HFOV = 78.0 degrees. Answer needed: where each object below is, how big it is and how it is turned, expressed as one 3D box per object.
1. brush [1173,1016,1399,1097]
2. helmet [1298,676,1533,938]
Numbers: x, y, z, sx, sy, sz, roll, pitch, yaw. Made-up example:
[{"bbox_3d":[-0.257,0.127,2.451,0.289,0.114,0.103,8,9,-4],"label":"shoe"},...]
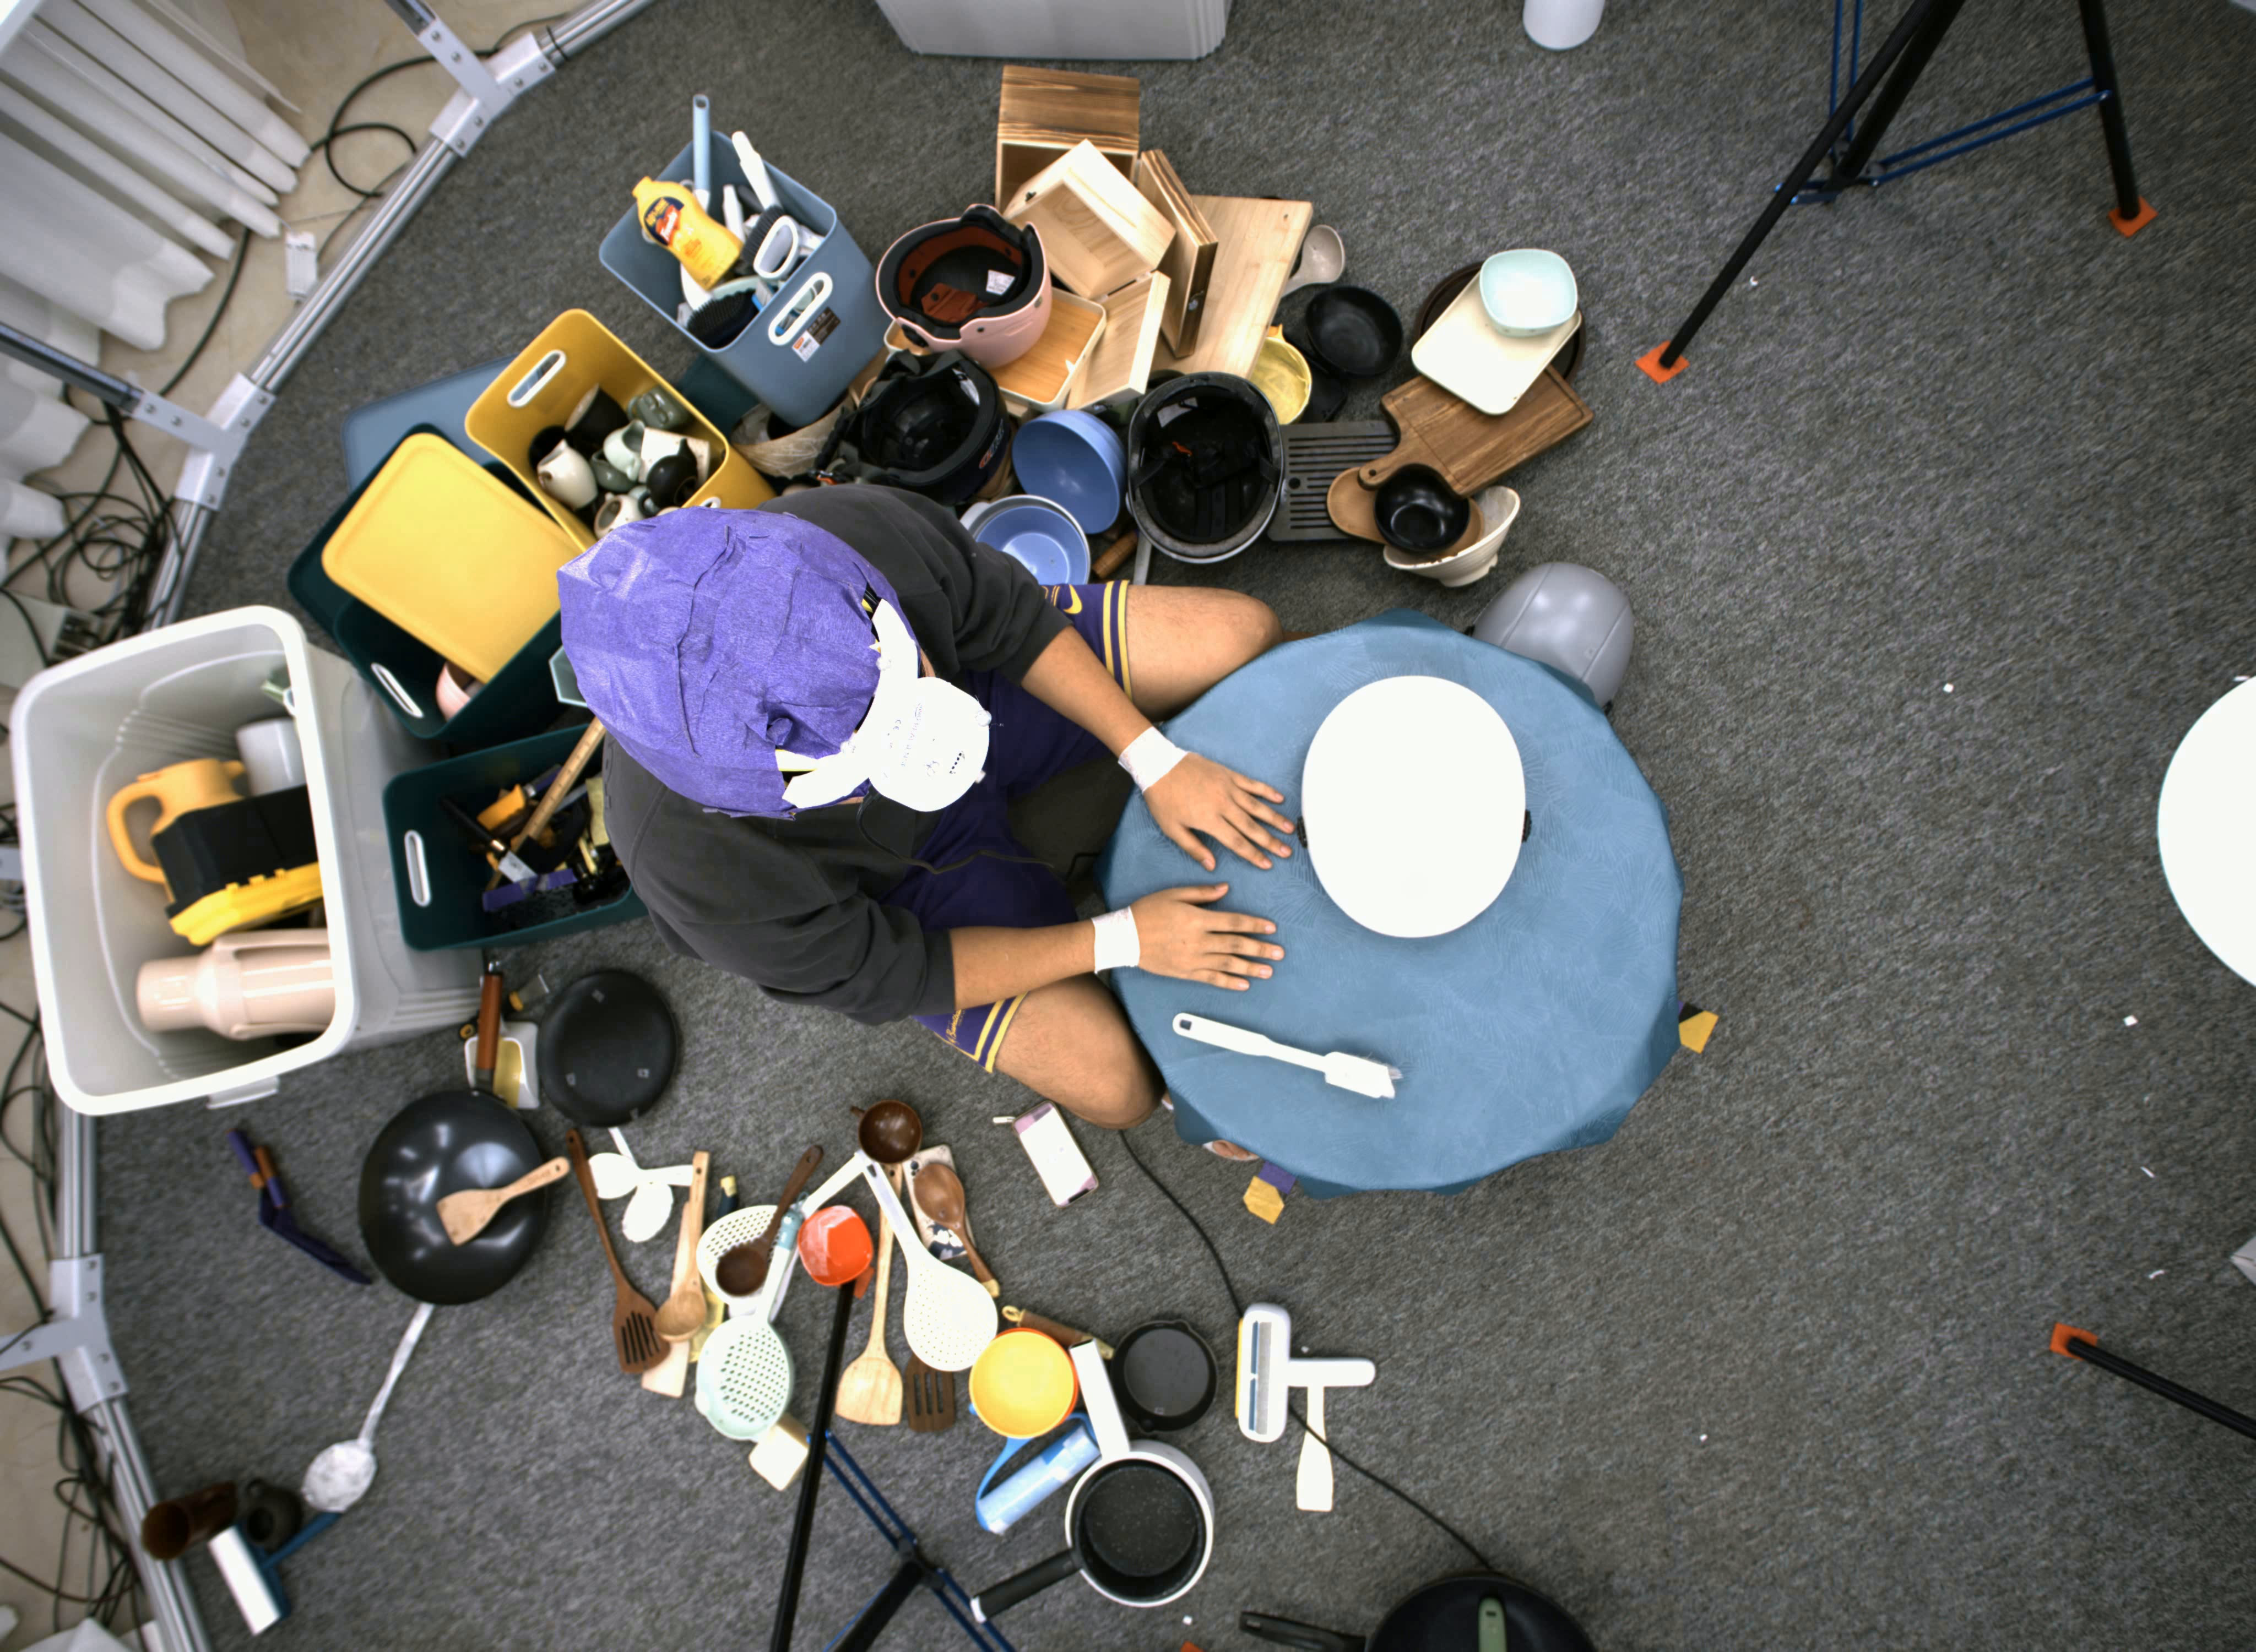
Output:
[{"bbox_3d":[0.164,0.238,1.458,0.244,0.050,0.034,12,87,24],"label":"brush"},{"bbox_3d":[0.288,-0.025,1.379,0.238,0.167,0.267,0,87,10],"label":"helmet"}]
